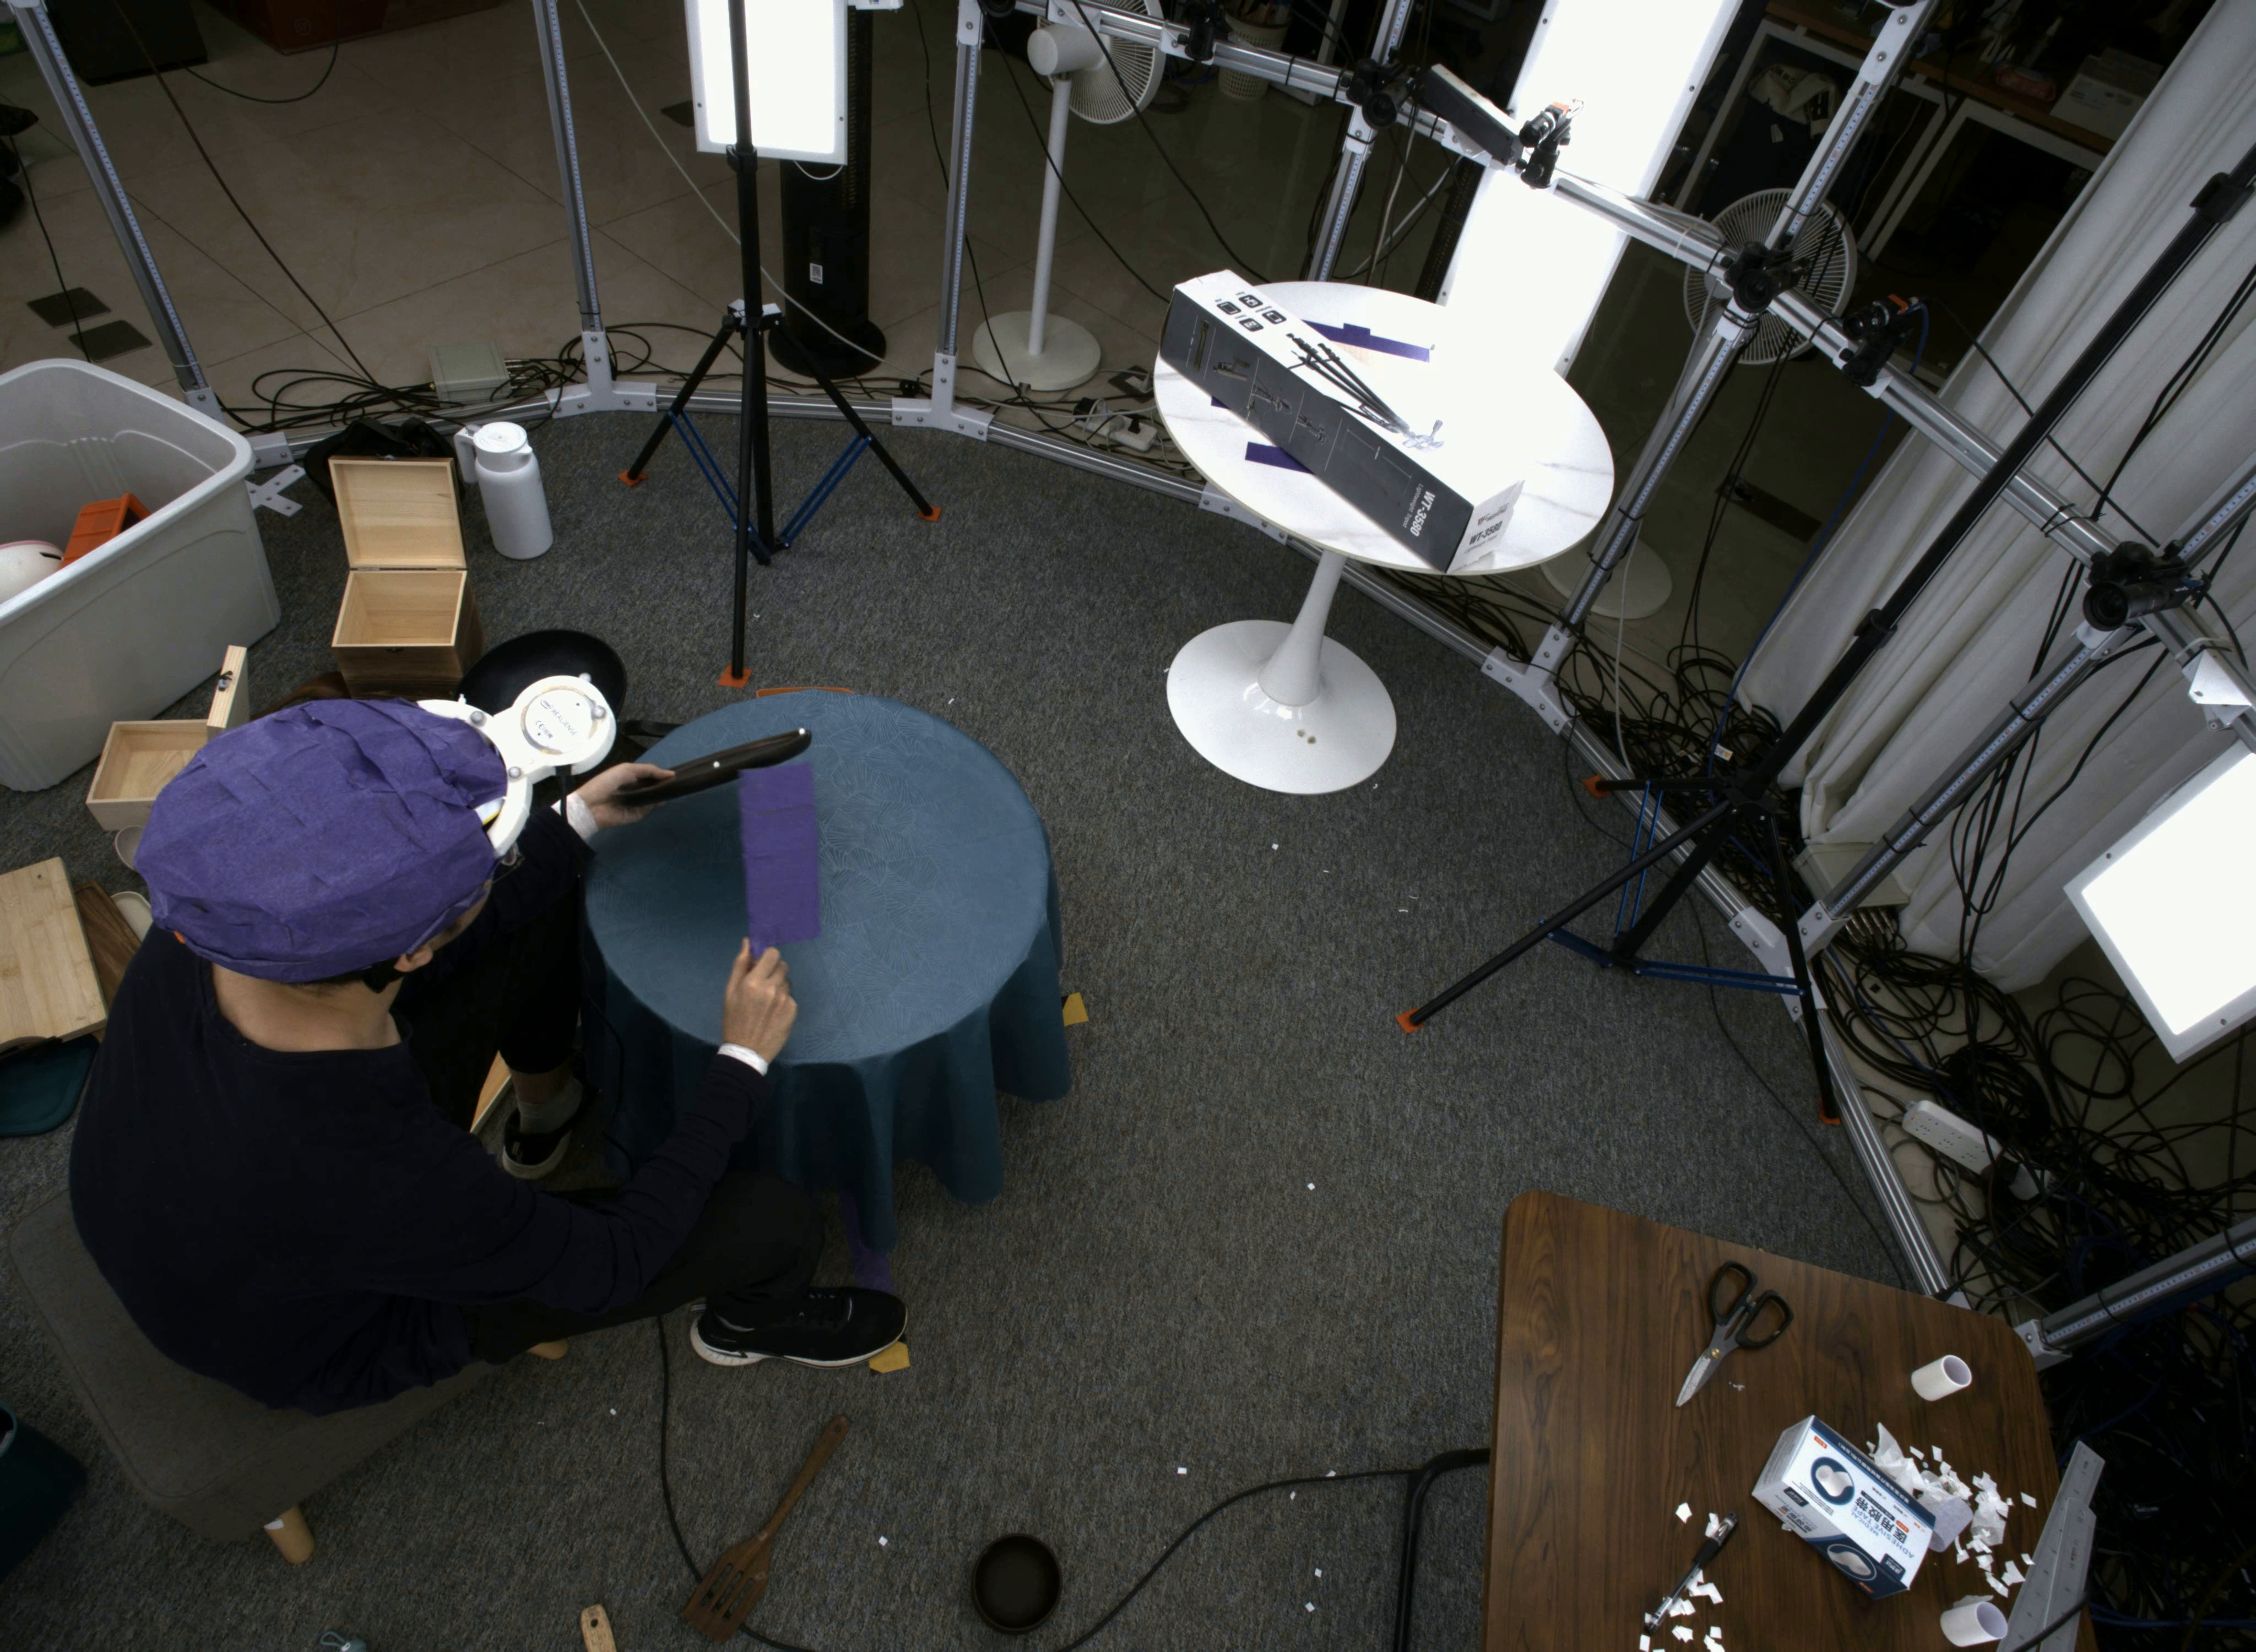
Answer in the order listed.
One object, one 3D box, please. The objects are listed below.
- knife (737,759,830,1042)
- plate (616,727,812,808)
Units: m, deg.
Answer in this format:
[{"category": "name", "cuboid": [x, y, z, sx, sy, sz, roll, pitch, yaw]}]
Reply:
[{"category": "knife", "cuboid": [-0.388, 0.084, 1.482, 0.105, 0.322, 0.031, -10, 17, -39]}, {"category": "plate", "cuboid": [-0.513, -0.075, 1.601, 0.256, 0.247, 0.030, -21, 103, -27]}]
